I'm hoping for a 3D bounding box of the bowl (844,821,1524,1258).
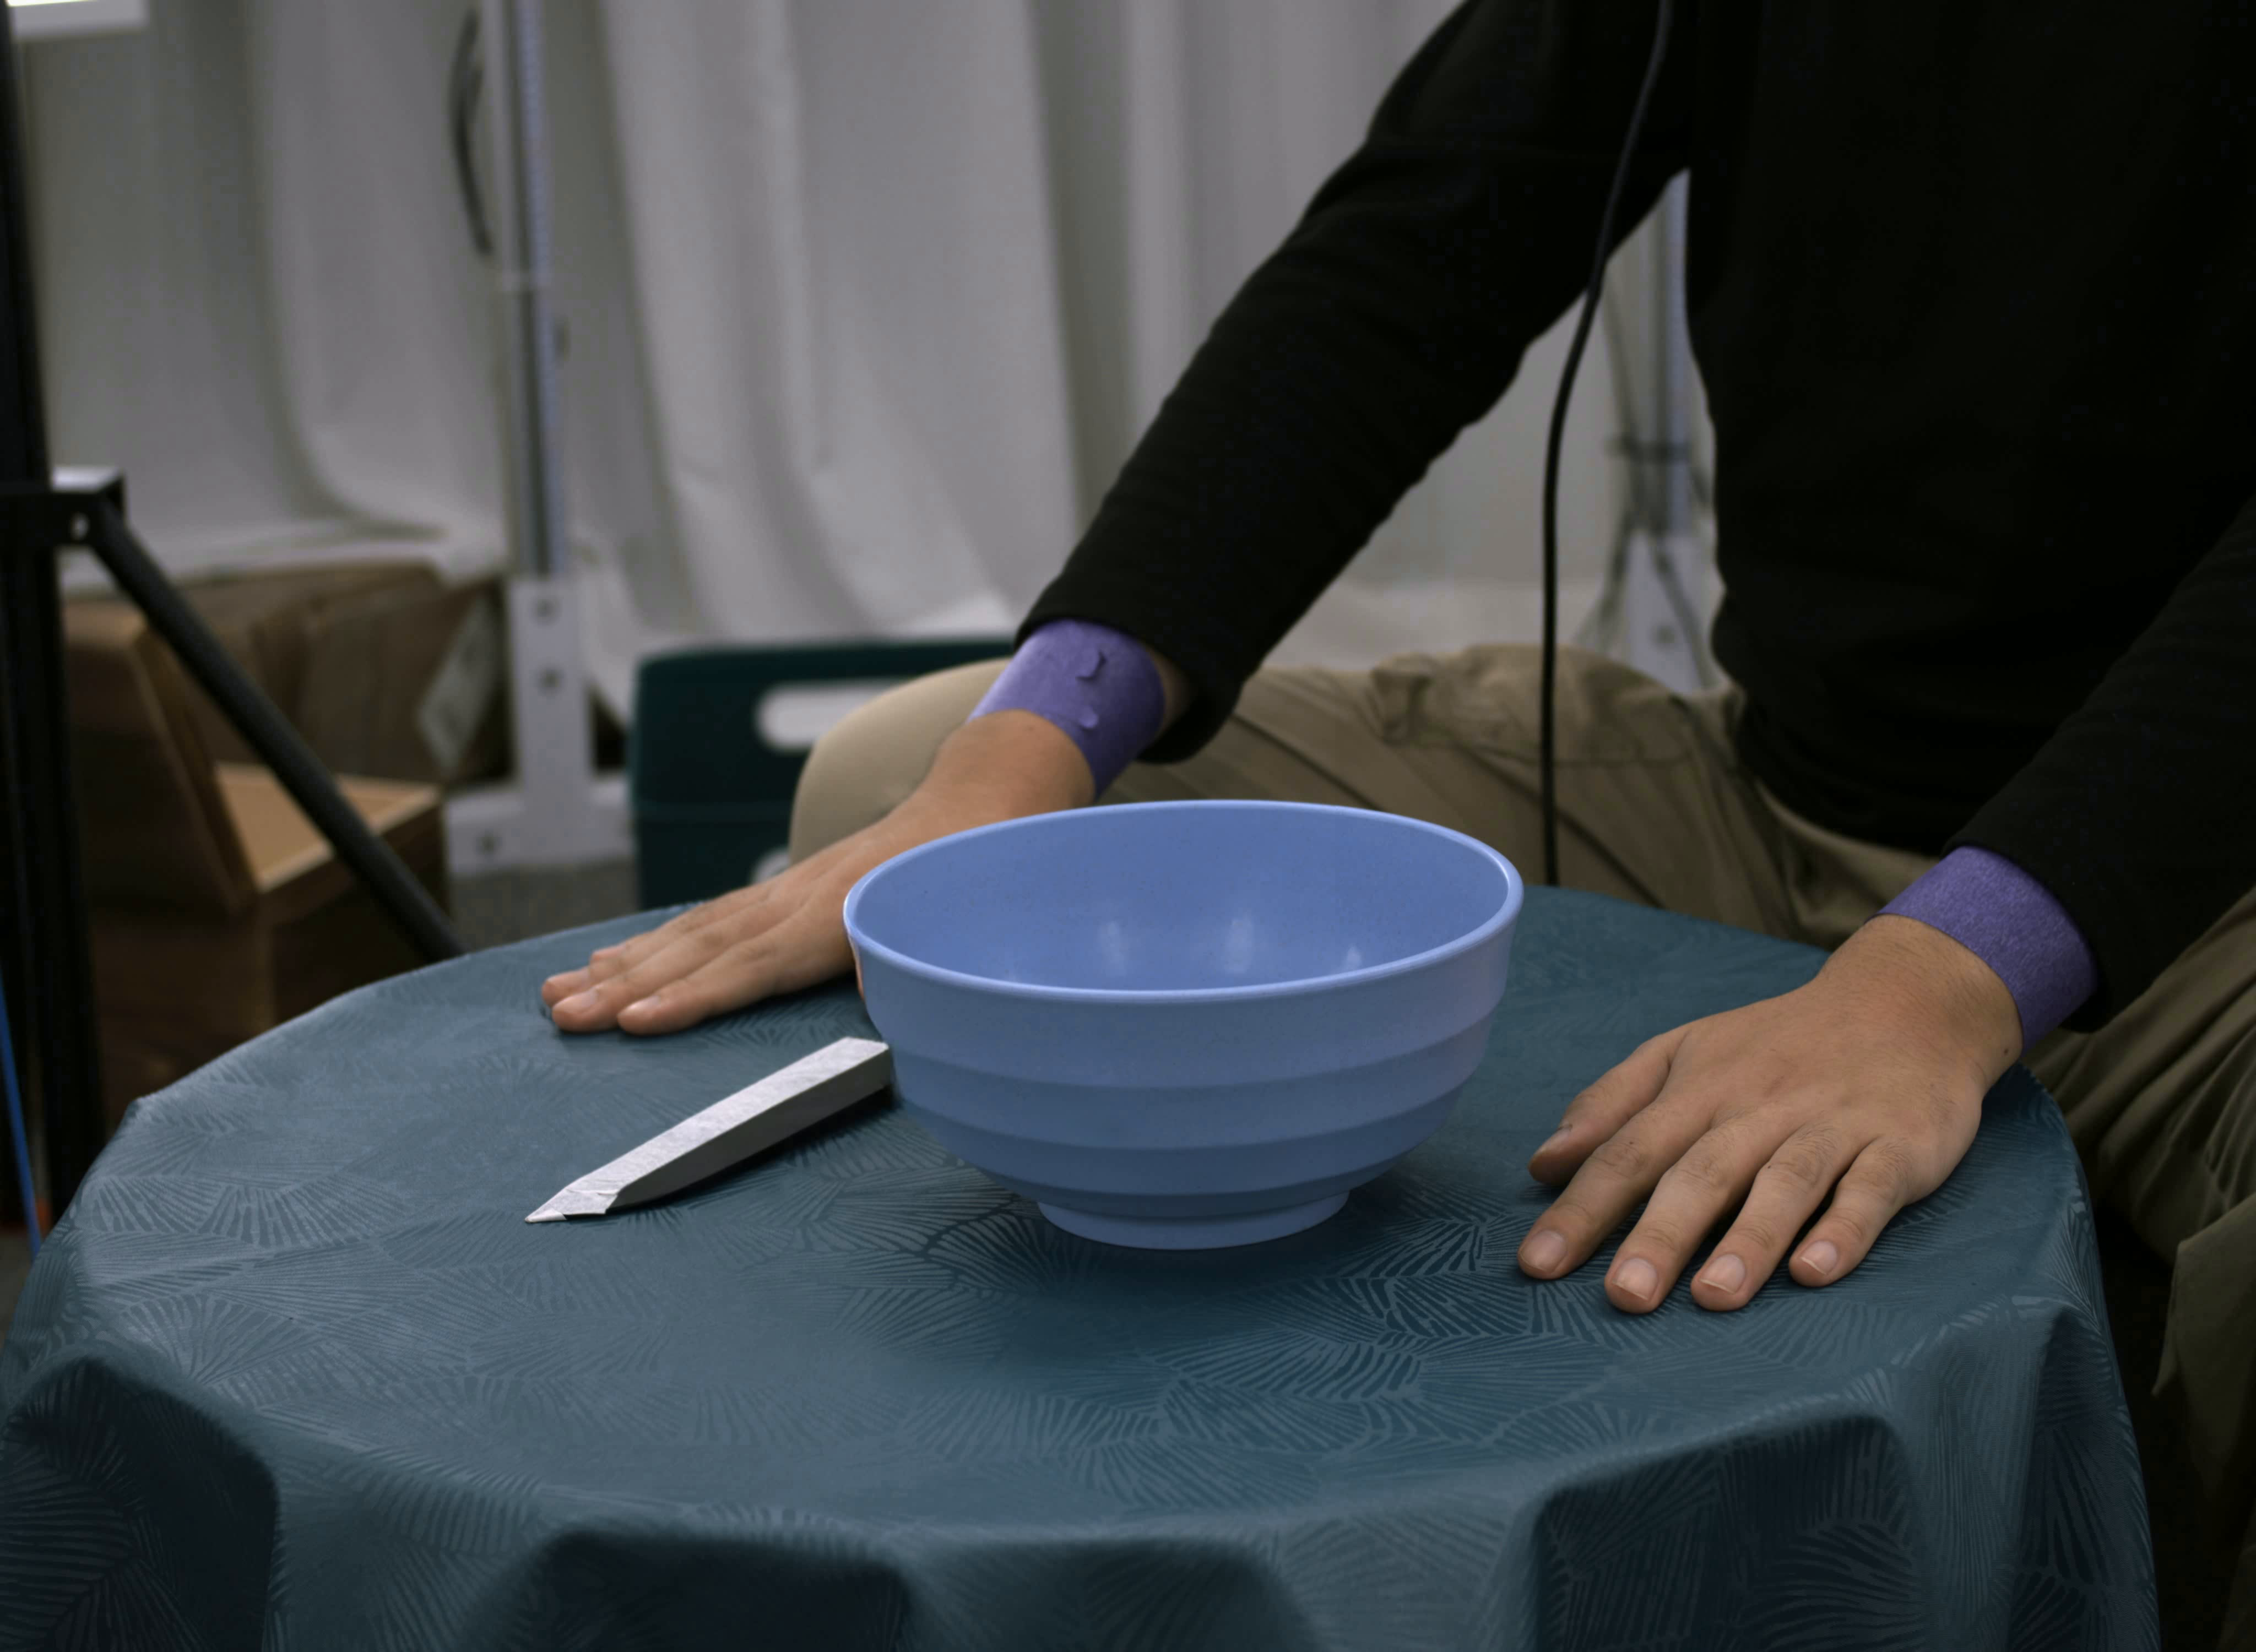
[{"bbox_3d":[0.017,0.066,1.537,0.195,0.095,0.197,-2,14,-1],"label":"bowl"}]

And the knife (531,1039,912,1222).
[{"bbox_3d":[-0.082,0.076,1.655,0.051,0.020,0.283,5,20,40],"label":"knife"}]
